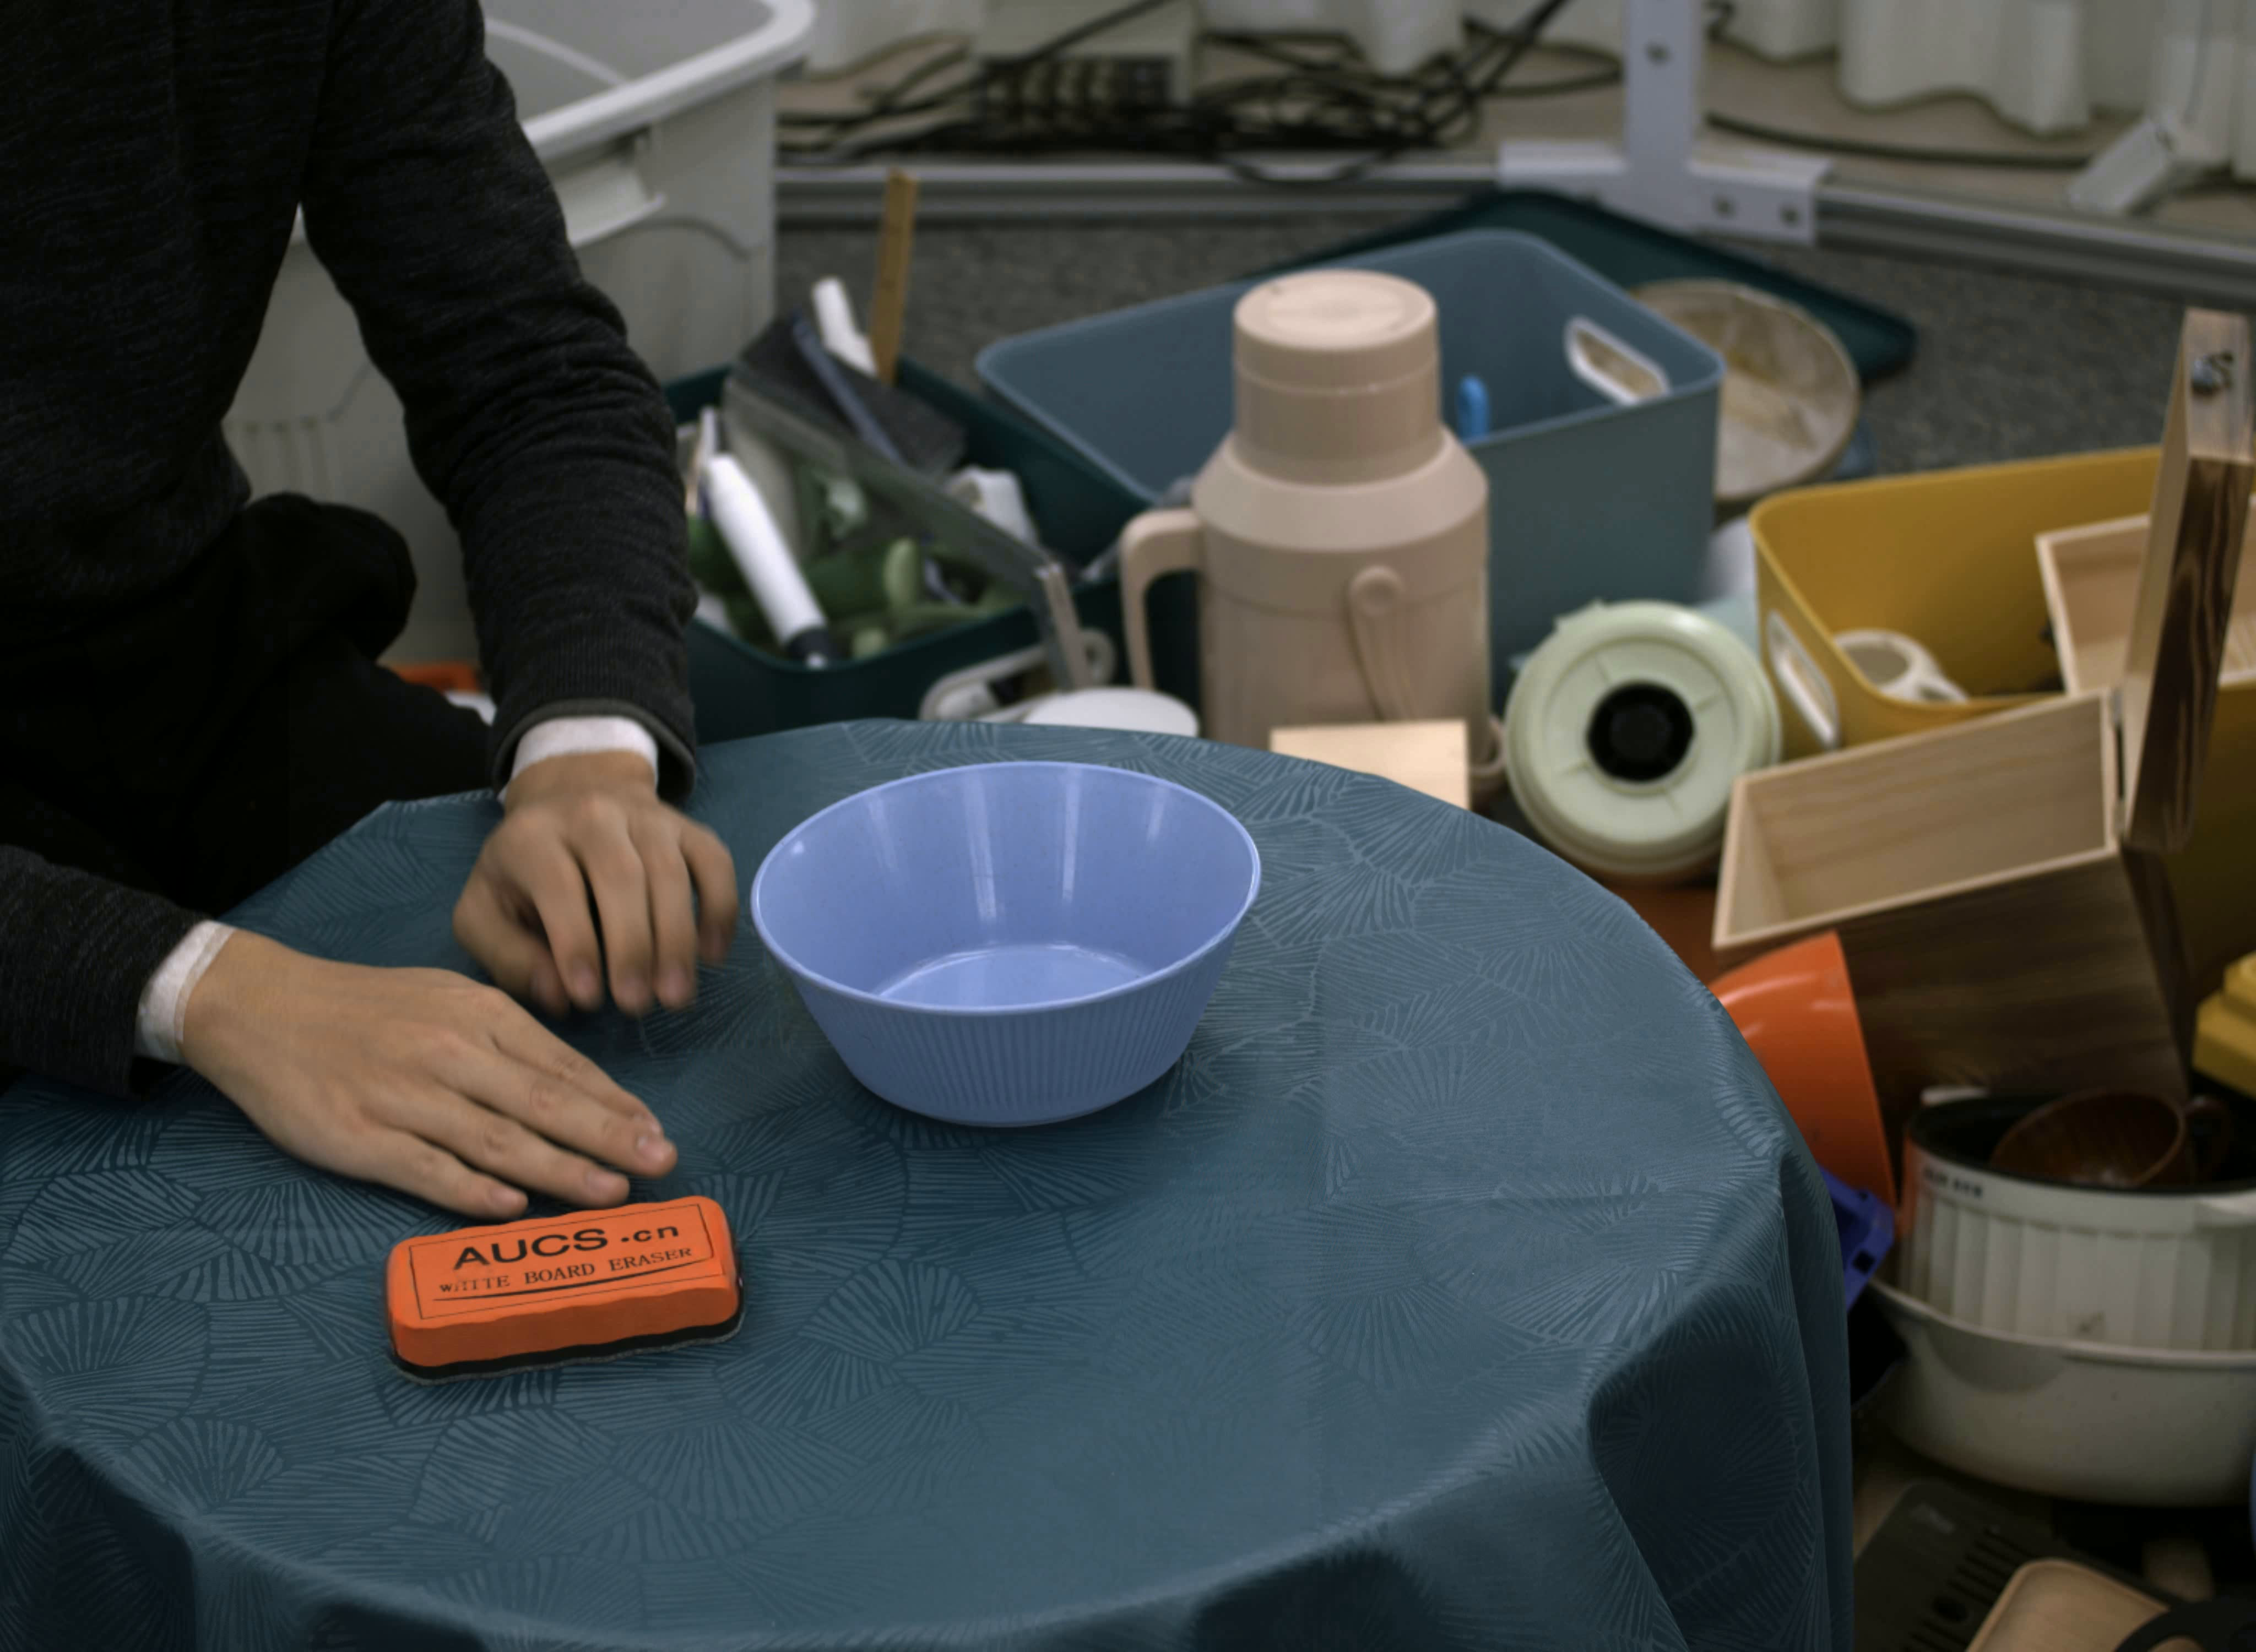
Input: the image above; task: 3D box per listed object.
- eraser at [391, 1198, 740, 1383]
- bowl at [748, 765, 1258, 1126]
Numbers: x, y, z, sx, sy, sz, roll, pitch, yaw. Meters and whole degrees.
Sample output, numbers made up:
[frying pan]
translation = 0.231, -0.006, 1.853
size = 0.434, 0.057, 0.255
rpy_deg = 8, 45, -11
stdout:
[eraser]
translation = -0.181, 0.149, 1.800
size = 0.108, 0.022, 0.060
rpy_deg = -8, 29, -9
[bowl]
translation = -0.041, 0.047, 1.936
size = 0.175, 0.069, 0.179
rpy_deg = -2, 27, 2
